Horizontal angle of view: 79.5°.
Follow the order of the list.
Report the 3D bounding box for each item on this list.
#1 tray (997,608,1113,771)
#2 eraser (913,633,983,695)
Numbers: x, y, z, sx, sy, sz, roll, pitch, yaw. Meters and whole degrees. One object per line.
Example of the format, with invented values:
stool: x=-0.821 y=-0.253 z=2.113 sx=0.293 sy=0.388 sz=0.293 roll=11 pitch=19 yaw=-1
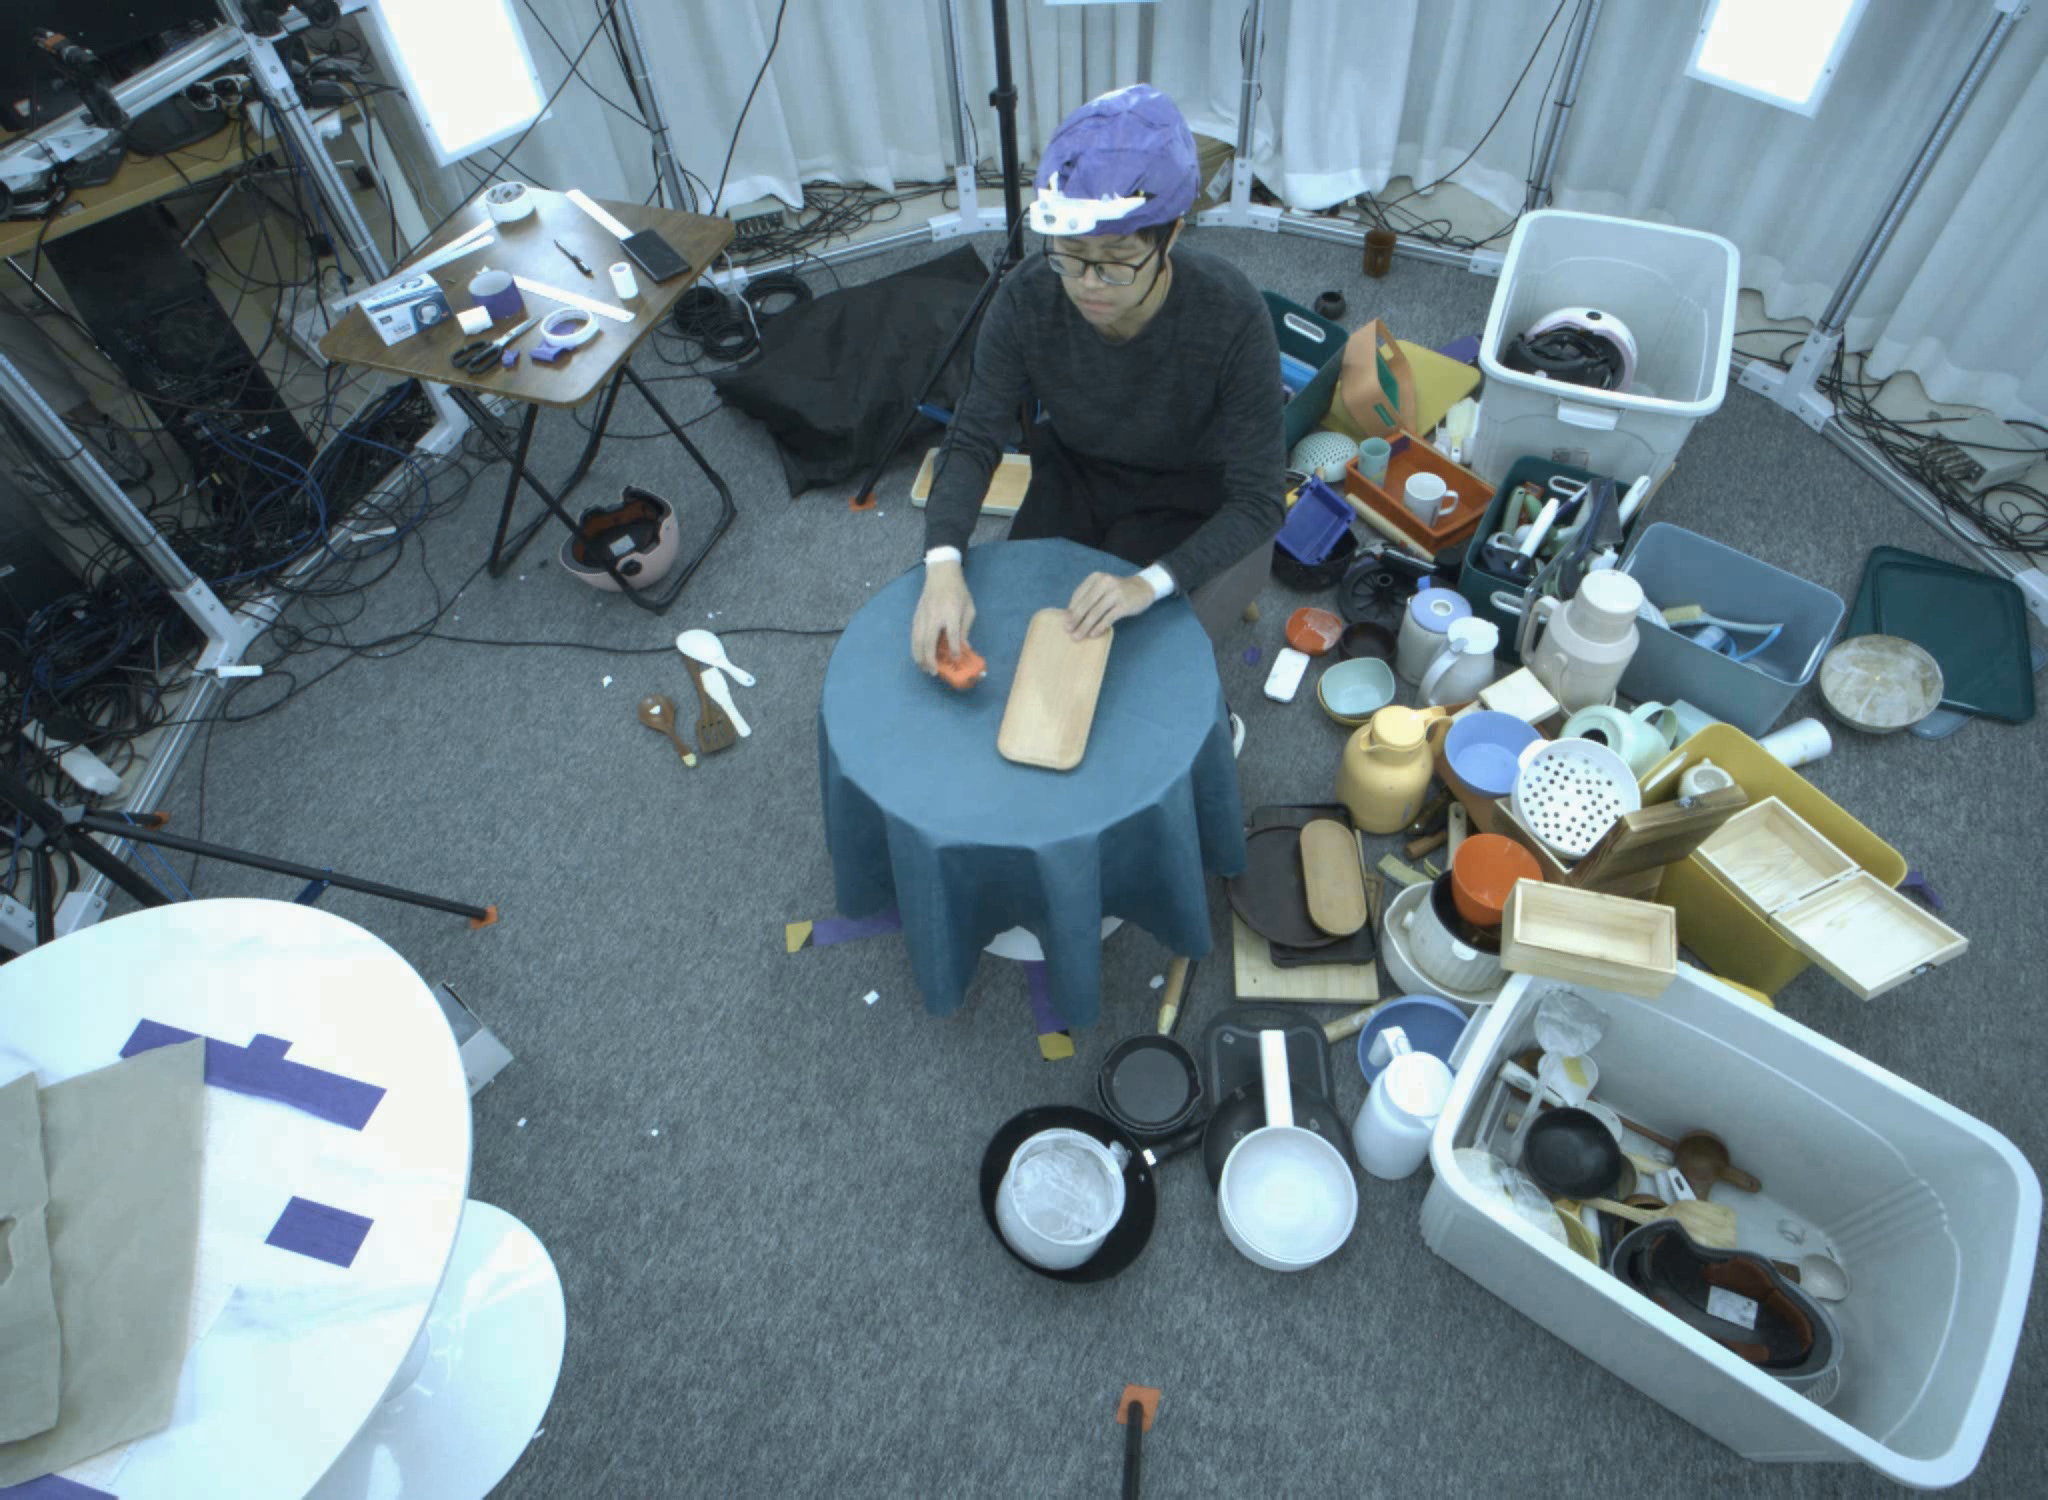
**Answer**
tray: x=0.046 y=-0.090 z=1.804 sx=0.130 sy=0.023 sz=0.250 roll=13 pitch=70 yaw=8
eraser: x=-0.115 y=-0.130 z=1.840 sx=0.059 sy=0.023 sz=0.106 roll=-37 pitch=58 yaw=-22
